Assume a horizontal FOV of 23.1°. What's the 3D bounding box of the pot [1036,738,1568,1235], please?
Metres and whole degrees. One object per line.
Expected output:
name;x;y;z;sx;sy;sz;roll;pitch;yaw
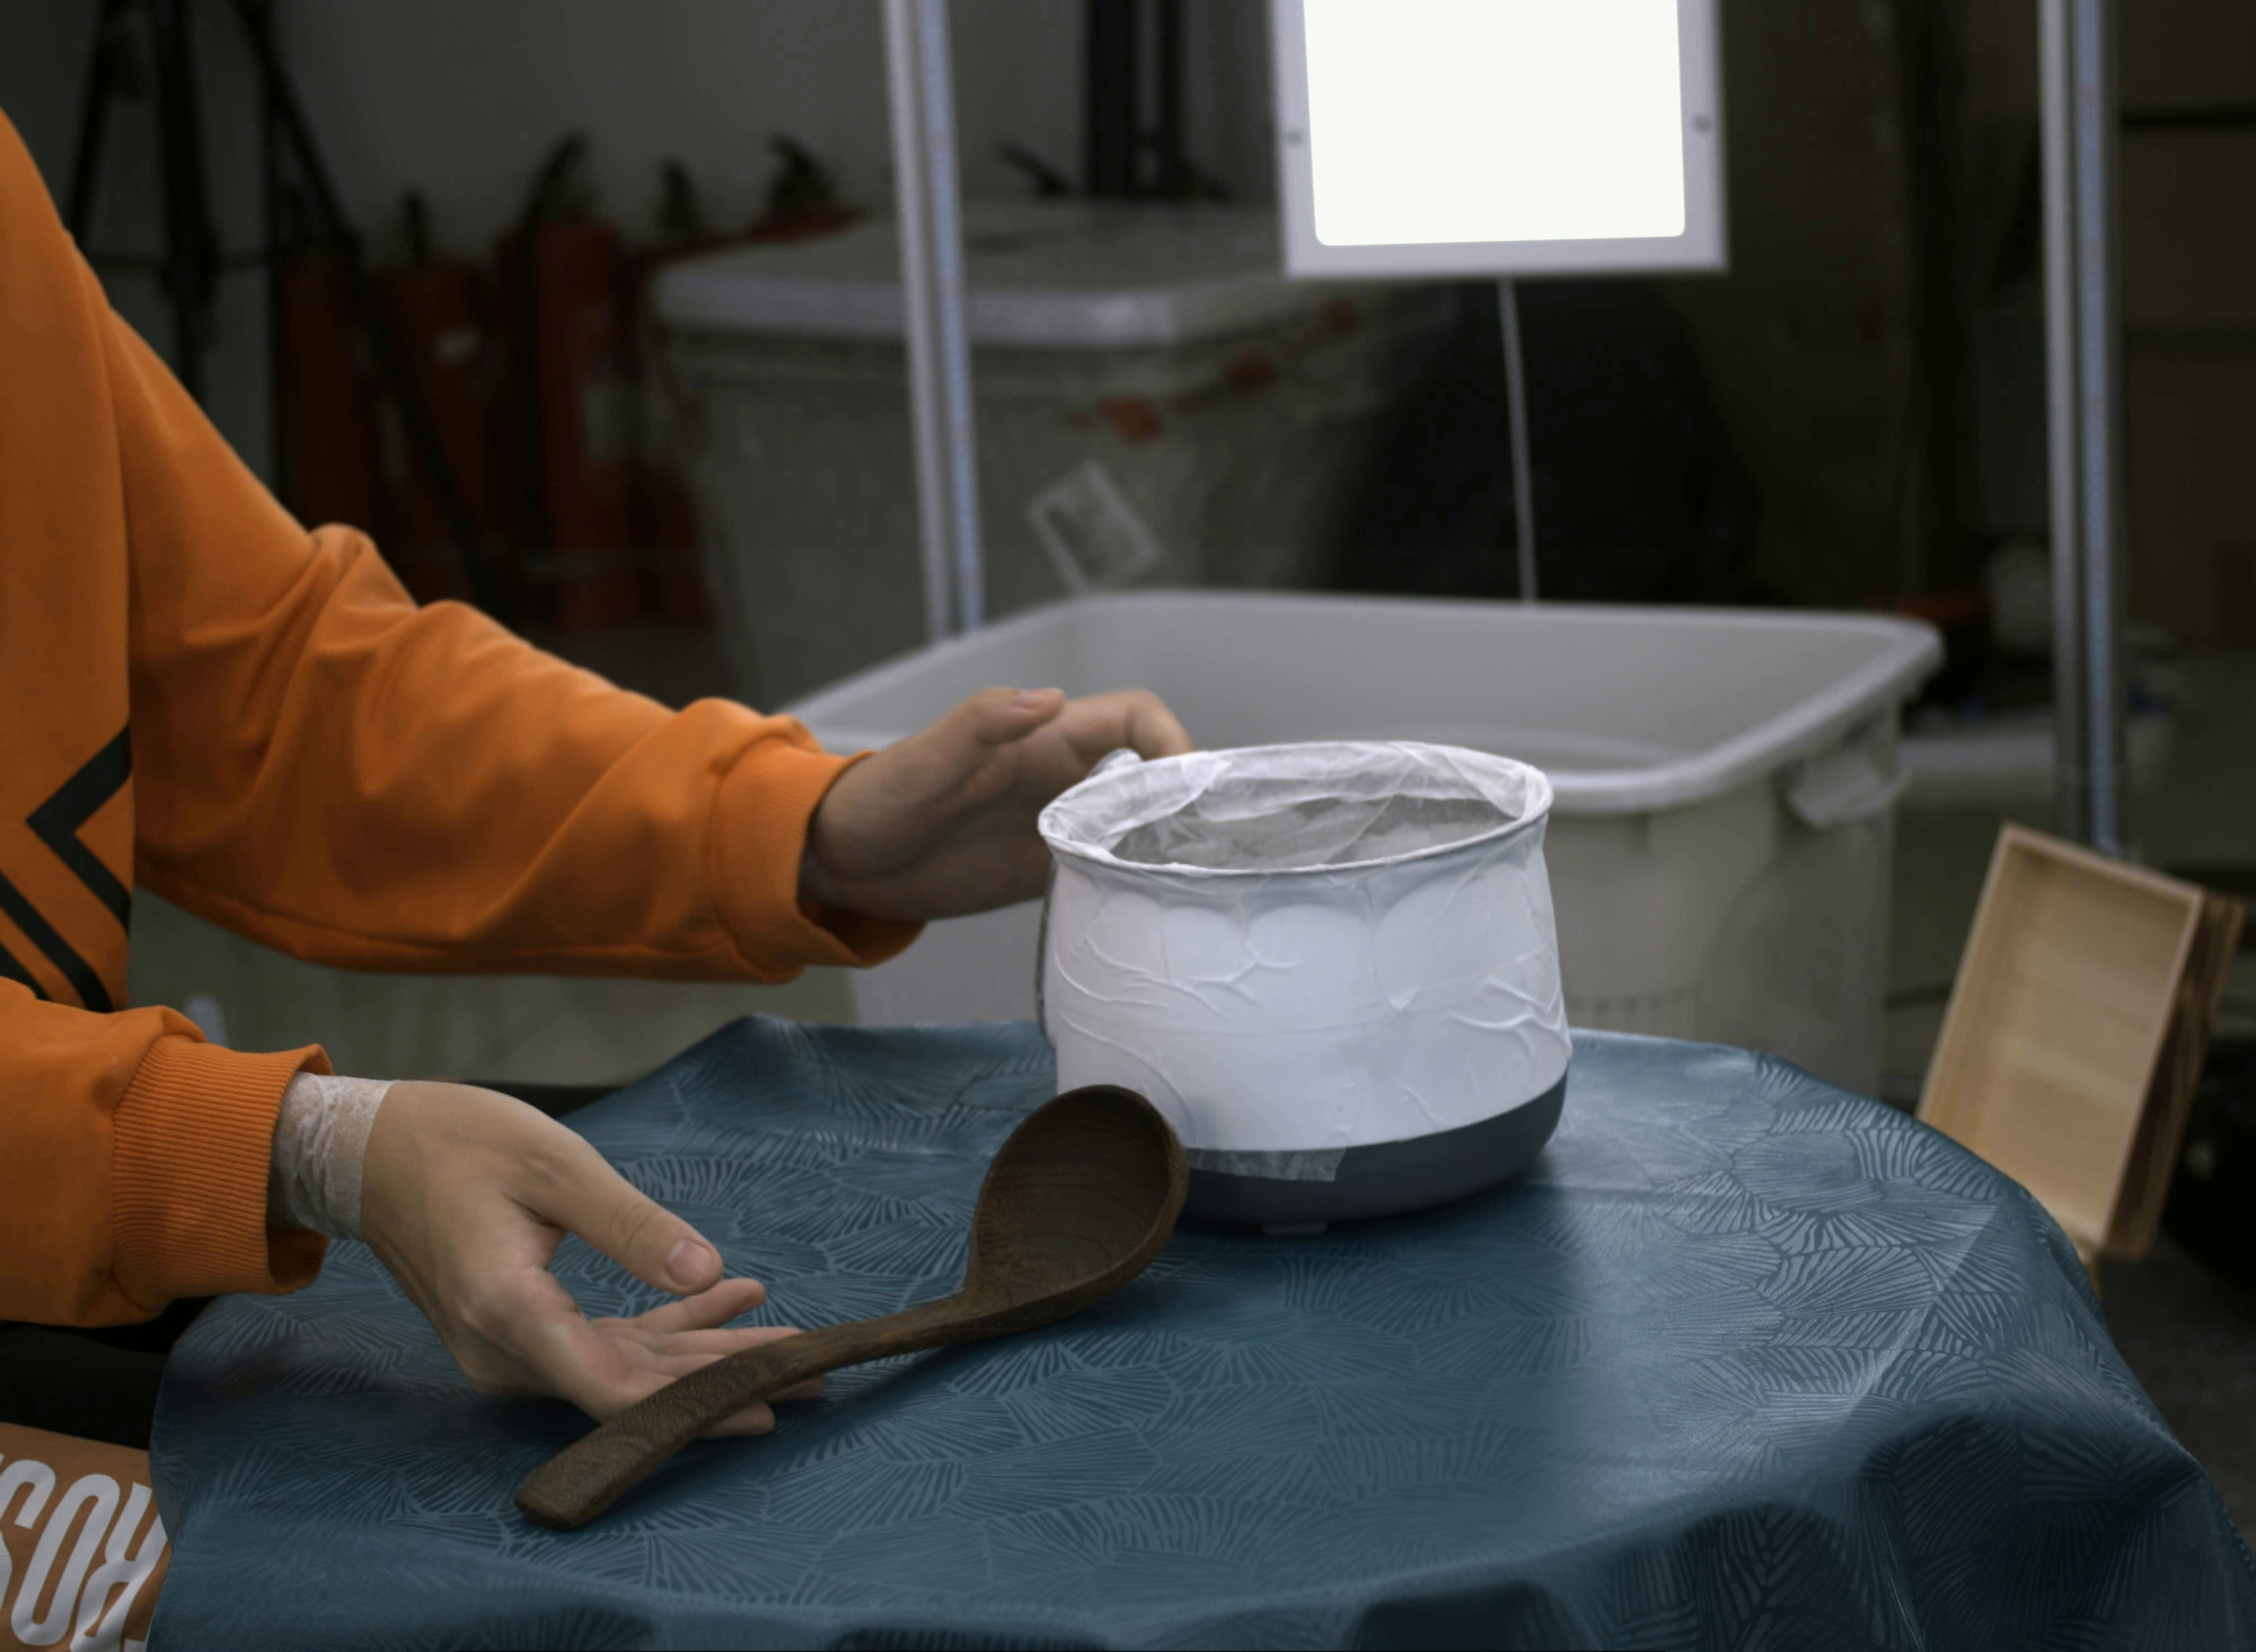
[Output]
pot;0.044;0.049;1.907;0.174;0.137;0.238;-14;17;-35

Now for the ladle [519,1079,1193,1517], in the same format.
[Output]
ladle;-0.084;0.142;1.712;0.077;0.071;0.267;11;19;41
